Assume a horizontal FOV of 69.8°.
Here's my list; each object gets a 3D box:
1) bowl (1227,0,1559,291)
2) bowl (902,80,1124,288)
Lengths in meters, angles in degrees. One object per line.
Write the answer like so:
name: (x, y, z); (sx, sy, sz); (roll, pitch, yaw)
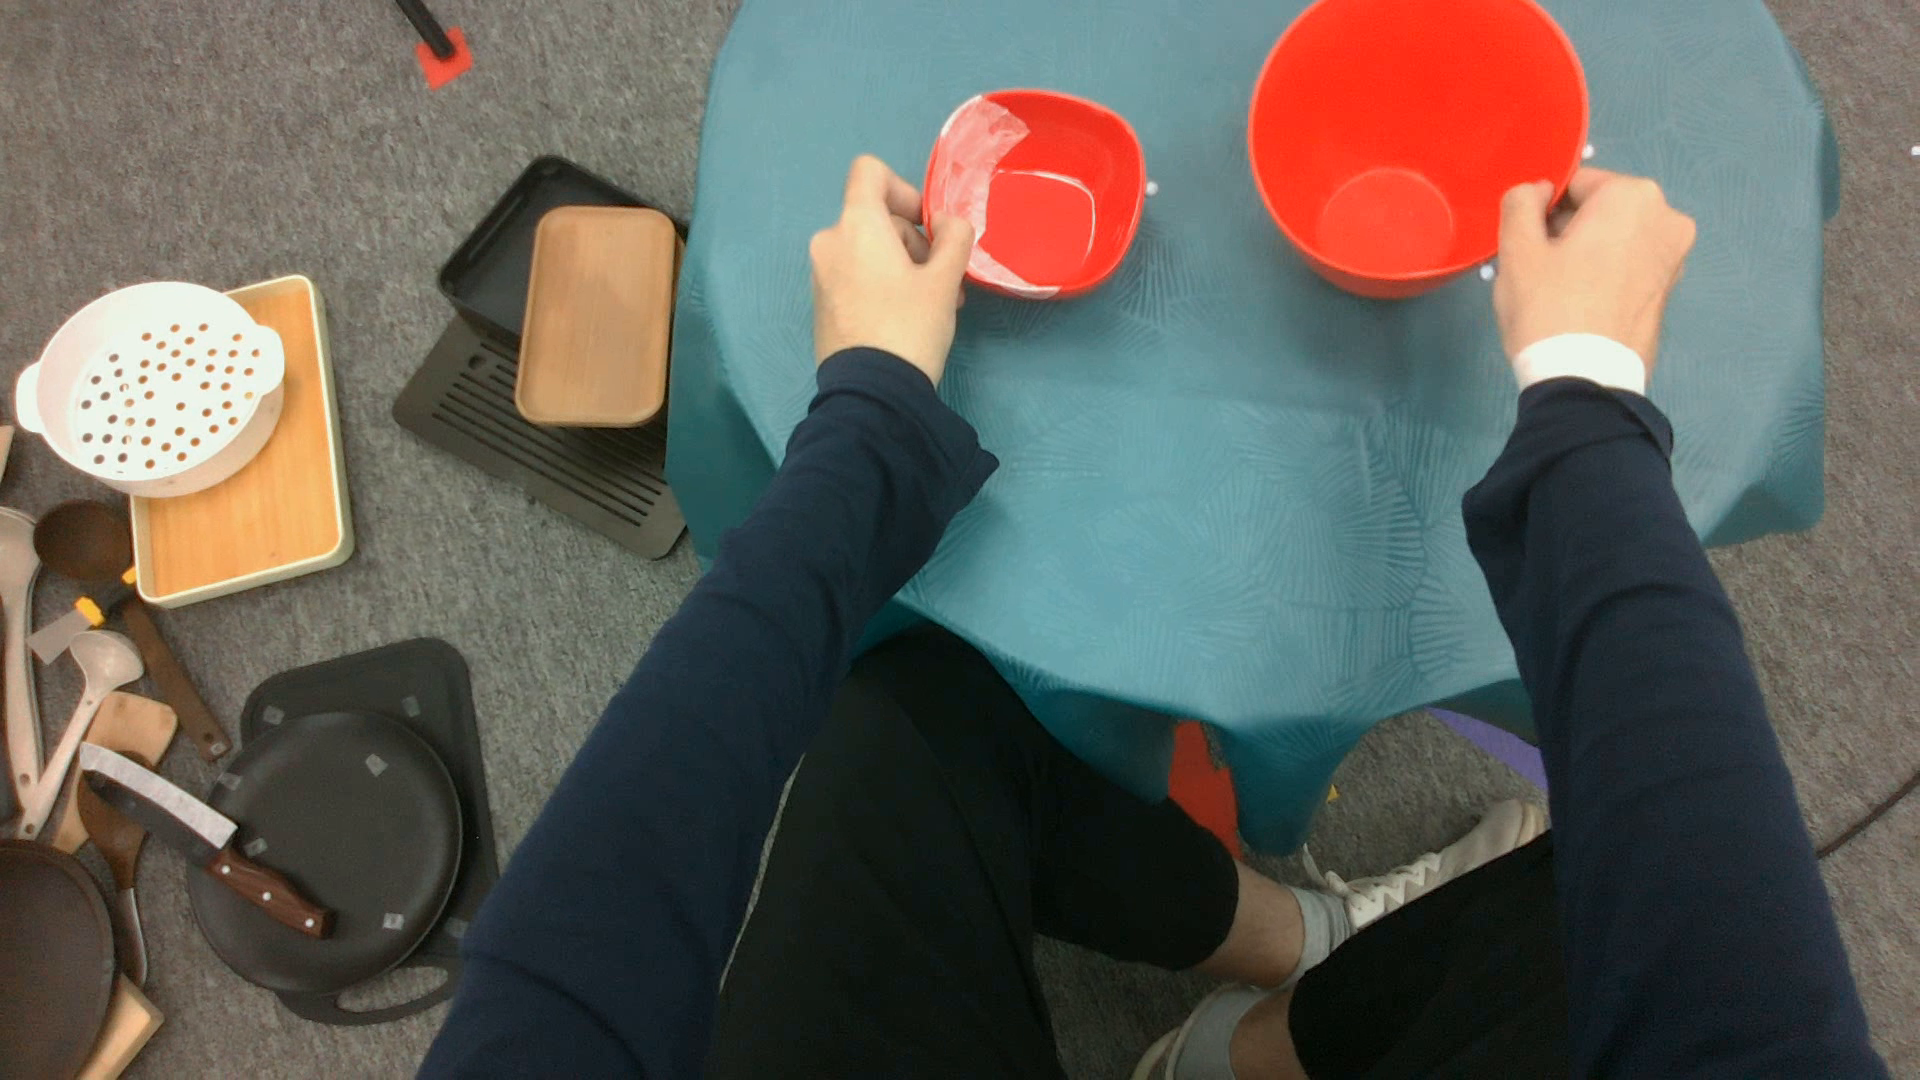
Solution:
bowl: (0.205, -0.188, 0.675); (0.148, 0.104, 0.148); (-2, 76, 10)
bowl: (0.027, -0.175, 0.713); (0.119, 0.051, 0.119); (0, 75, 1)
